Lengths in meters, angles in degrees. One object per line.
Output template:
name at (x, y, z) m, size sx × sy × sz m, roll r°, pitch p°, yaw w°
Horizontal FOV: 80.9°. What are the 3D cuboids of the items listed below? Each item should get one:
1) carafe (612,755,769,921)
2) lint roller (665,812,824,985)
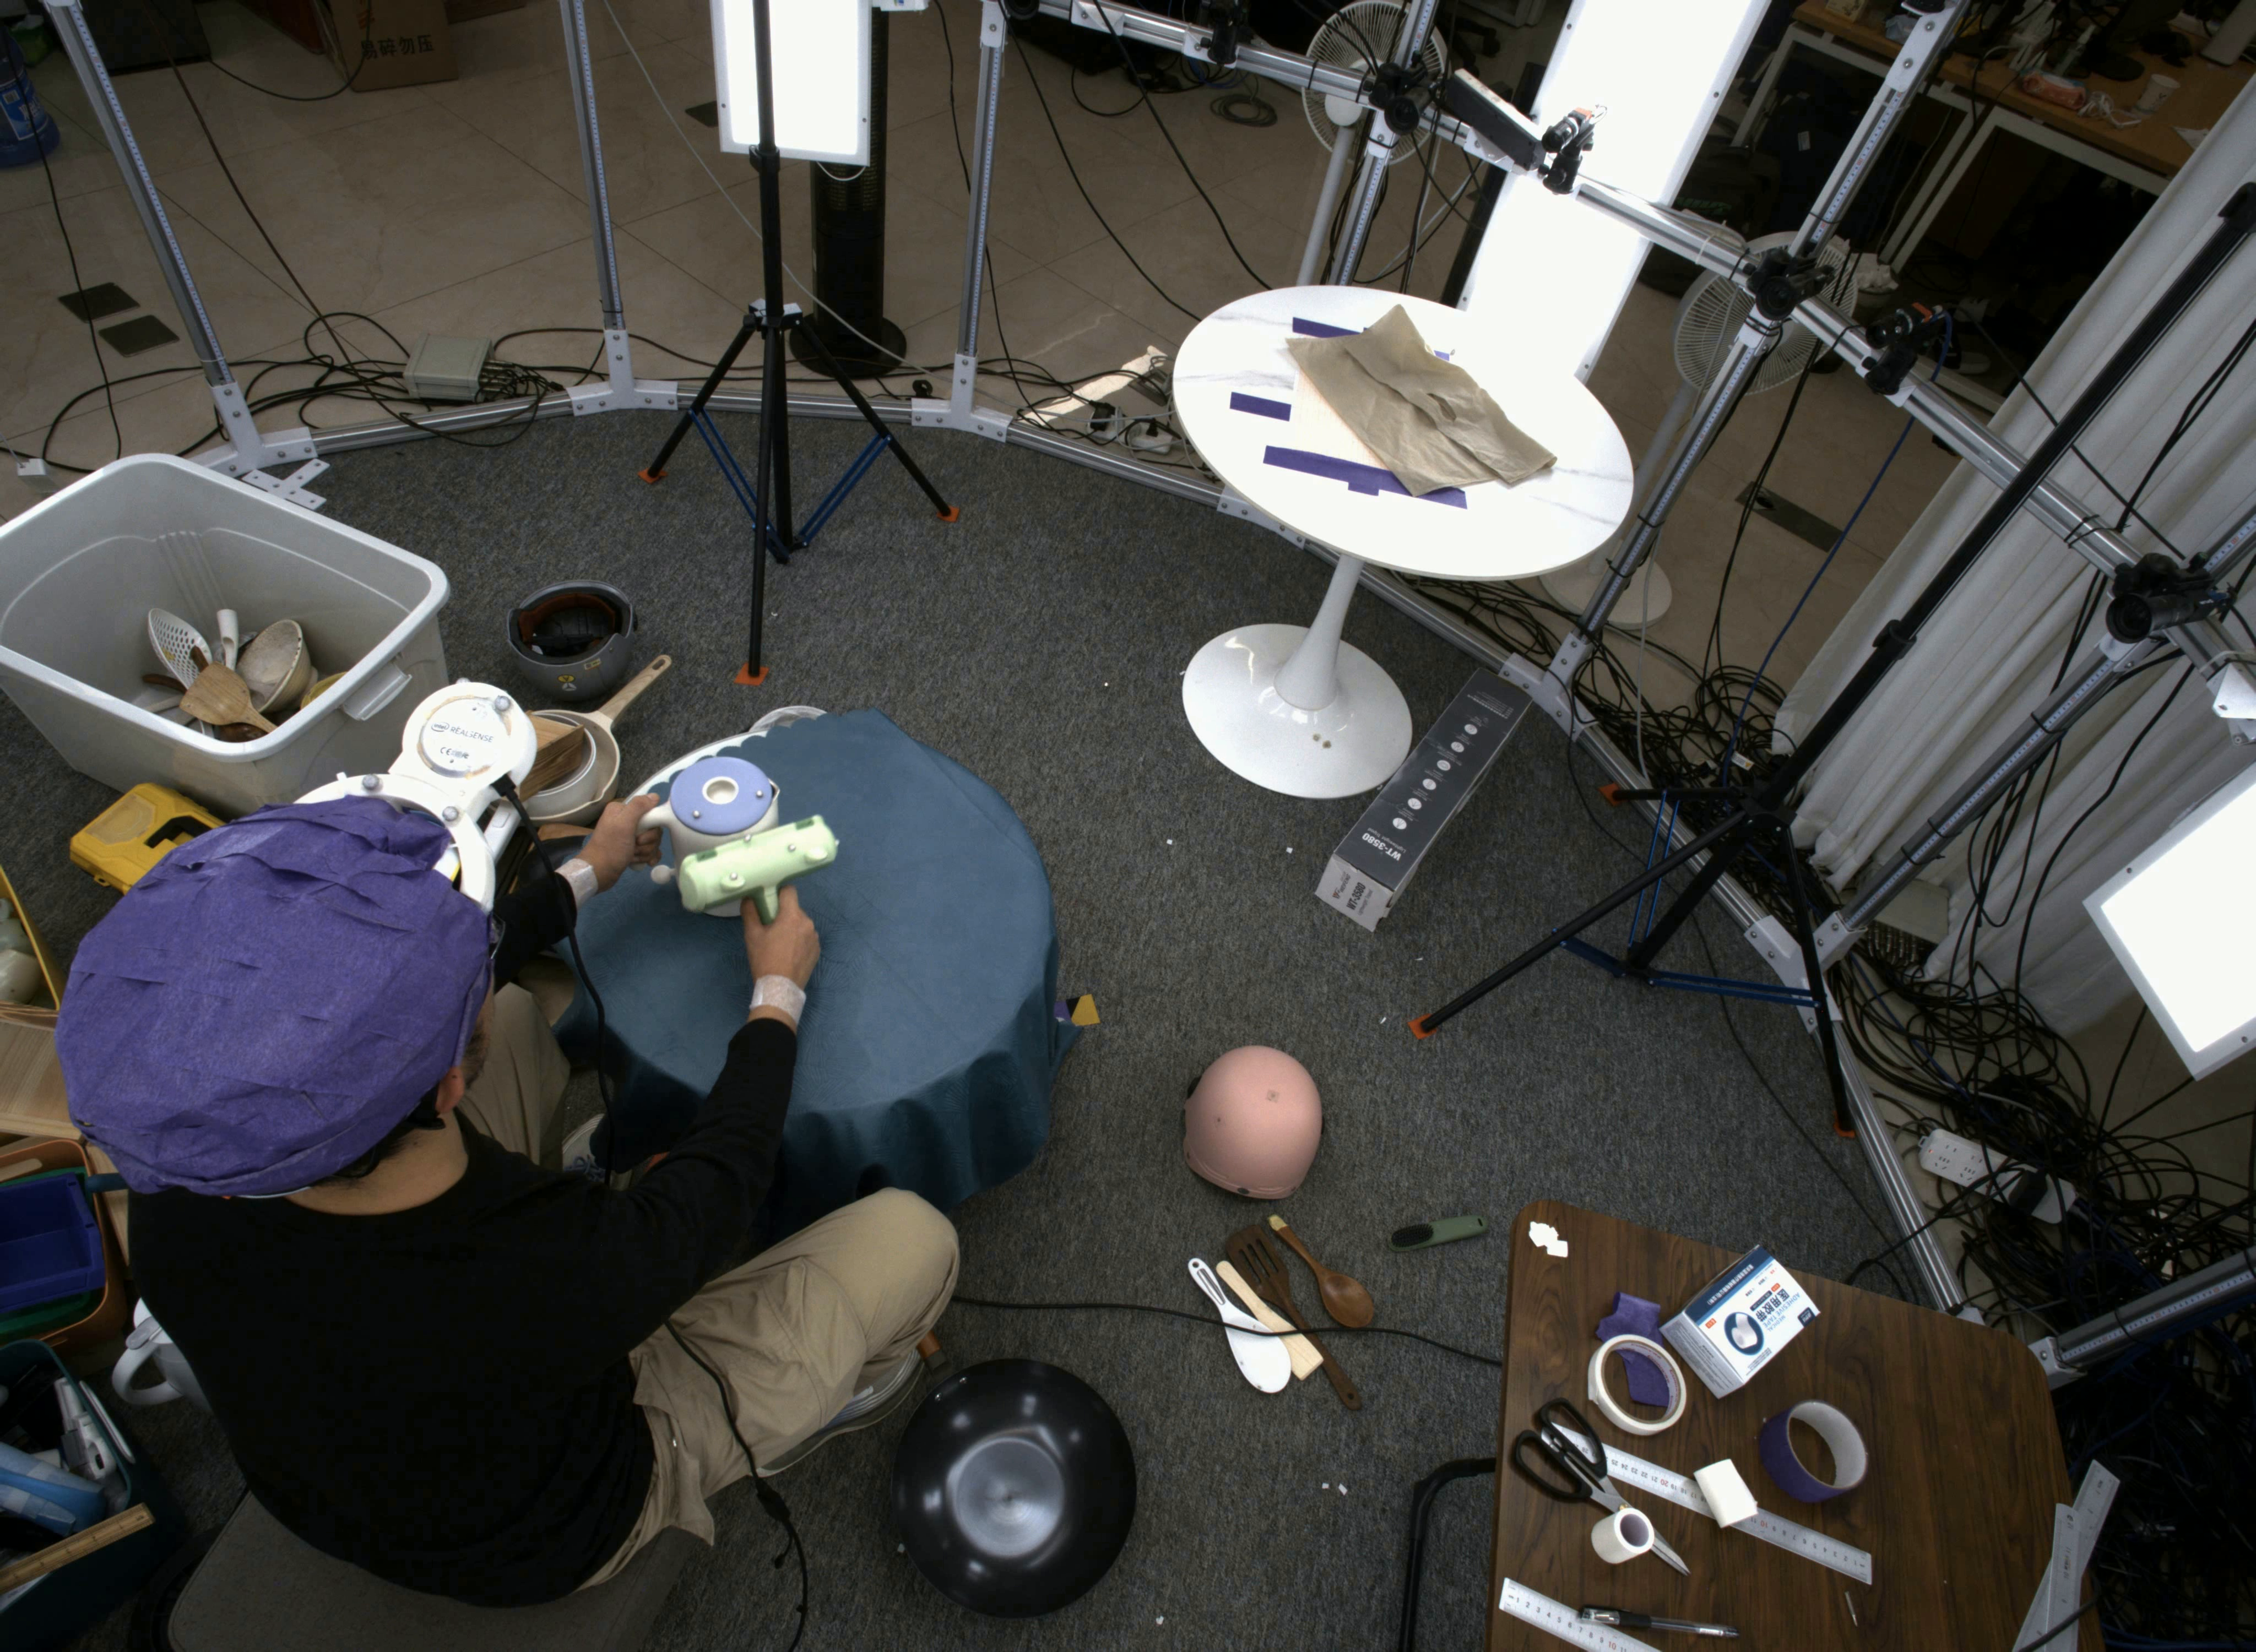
carafe at (-0.531, 0.019, 1.564) m, size 0.192 × 0.187 × 0.129 m, roll -13°, pitch 55°, yaw -19°
lint roller at (-0.425, 0.095, 1.513) m, size 0.200 × 0.080 × 0.187 m, roll -24°, pitch 102°, yaw -46°
